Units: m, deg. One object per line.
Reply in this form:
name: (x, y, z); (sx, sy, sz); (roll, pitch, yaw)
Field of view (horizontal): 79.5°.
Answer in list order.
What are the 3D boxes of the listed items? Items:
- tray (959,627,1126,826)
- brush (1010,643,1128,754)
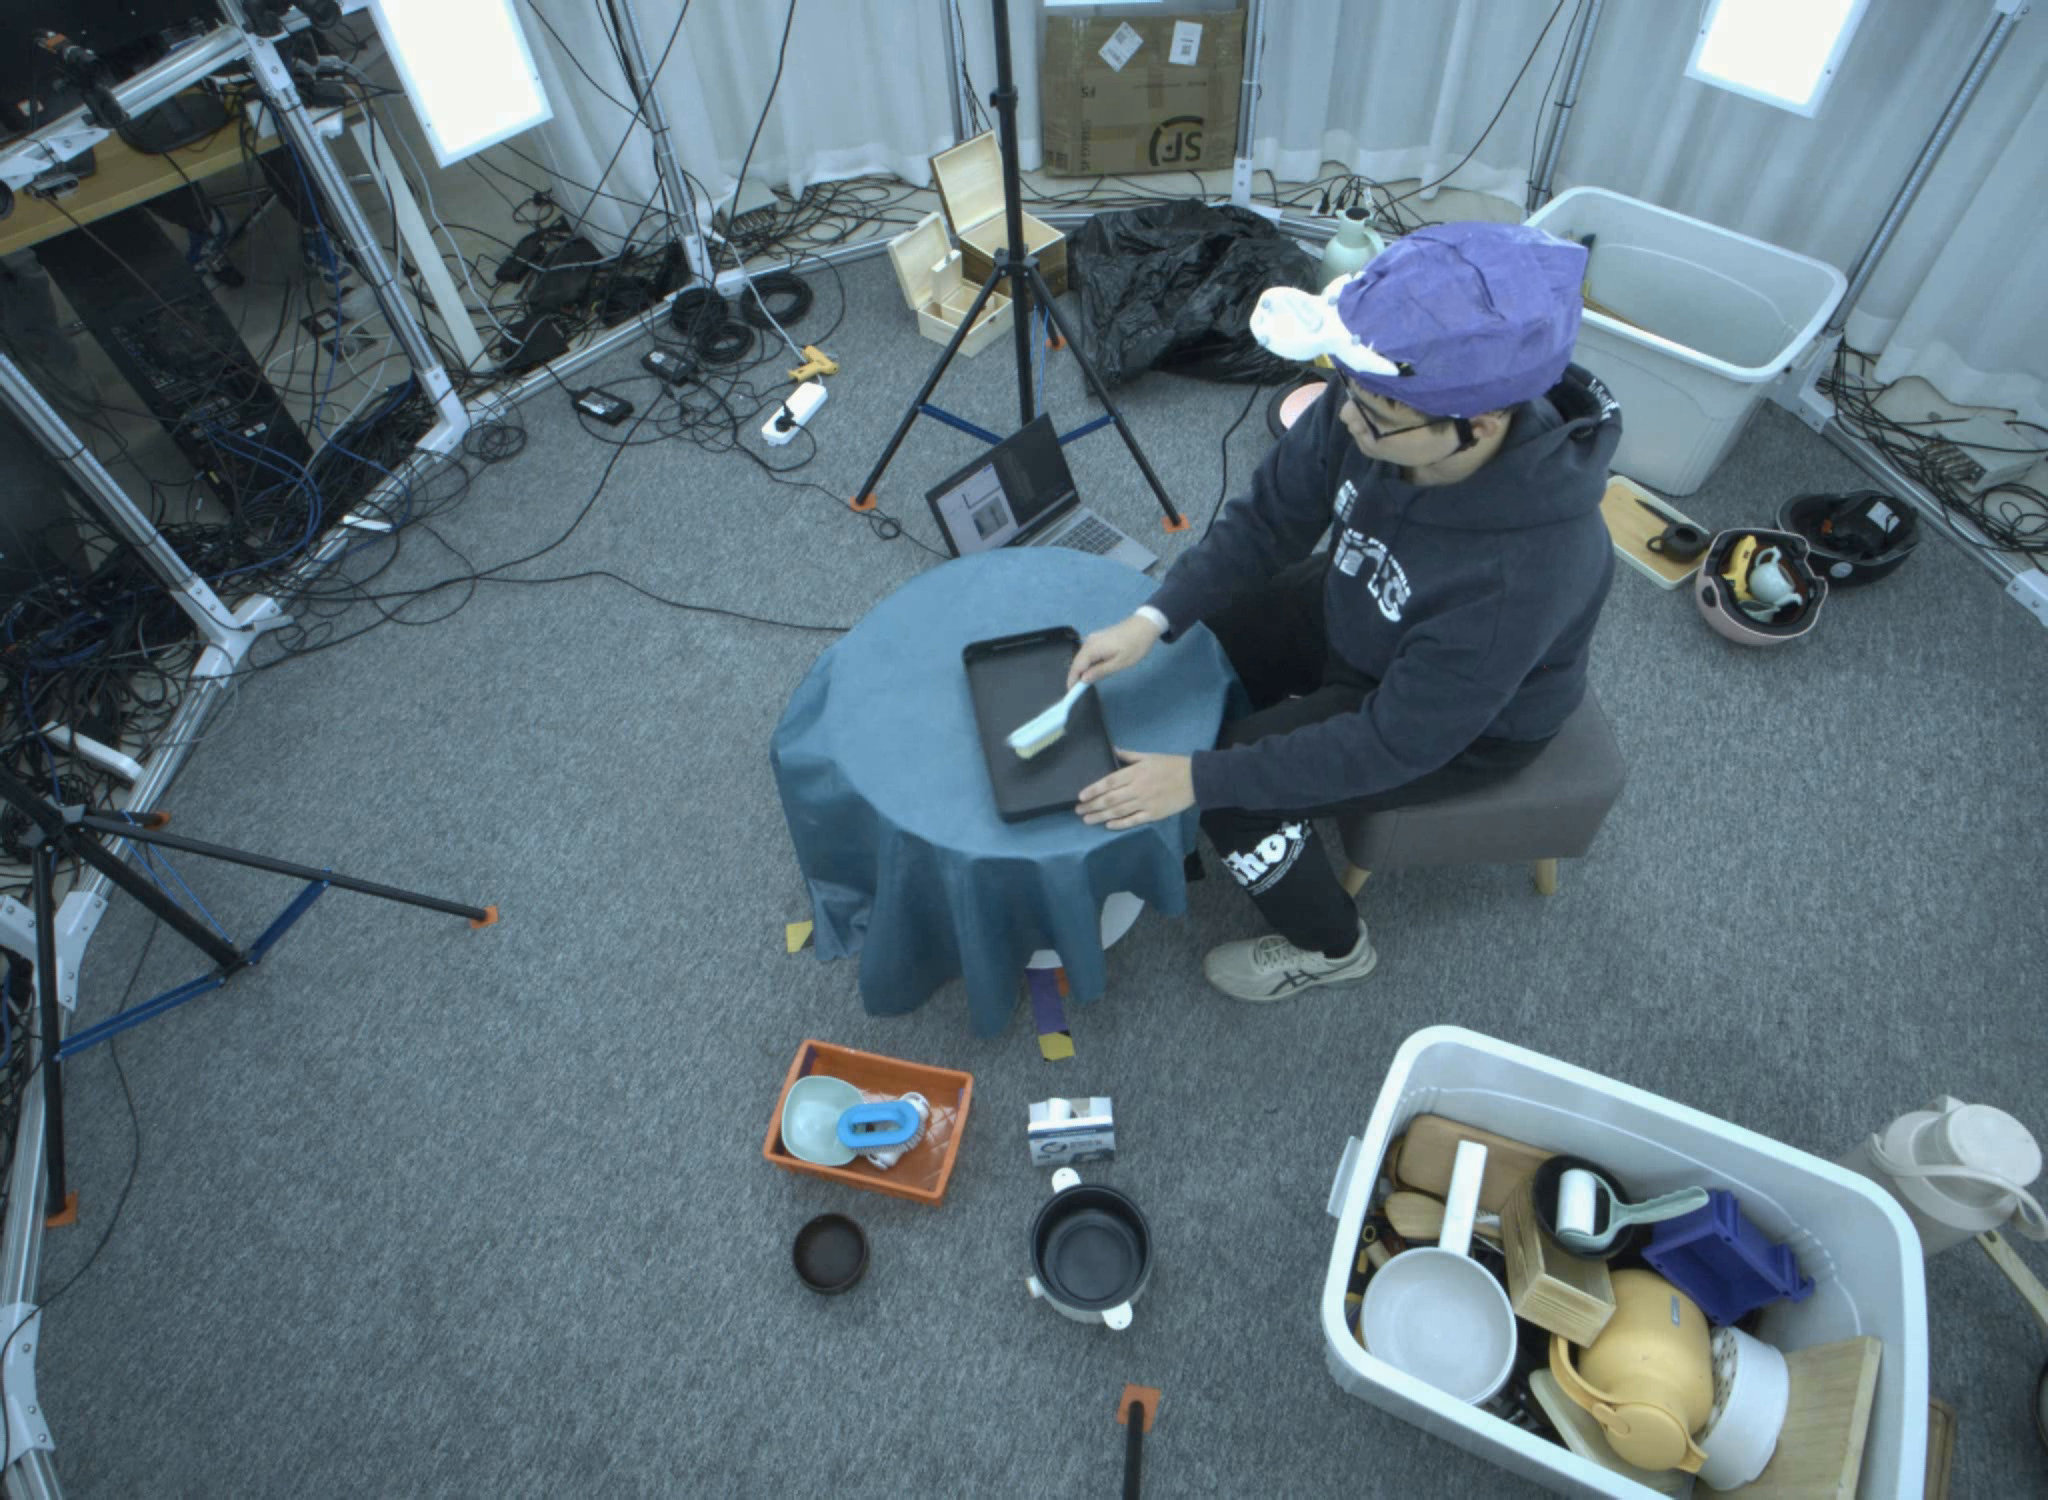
tray: (0.022, -0.039, 1.793); (0.185, 0.037, 0.313); (-11, 55, -7)
brush: (0.069, -0.078, 1.779); (0.229, 0.050, 0.037); (-45, 43, -17)
